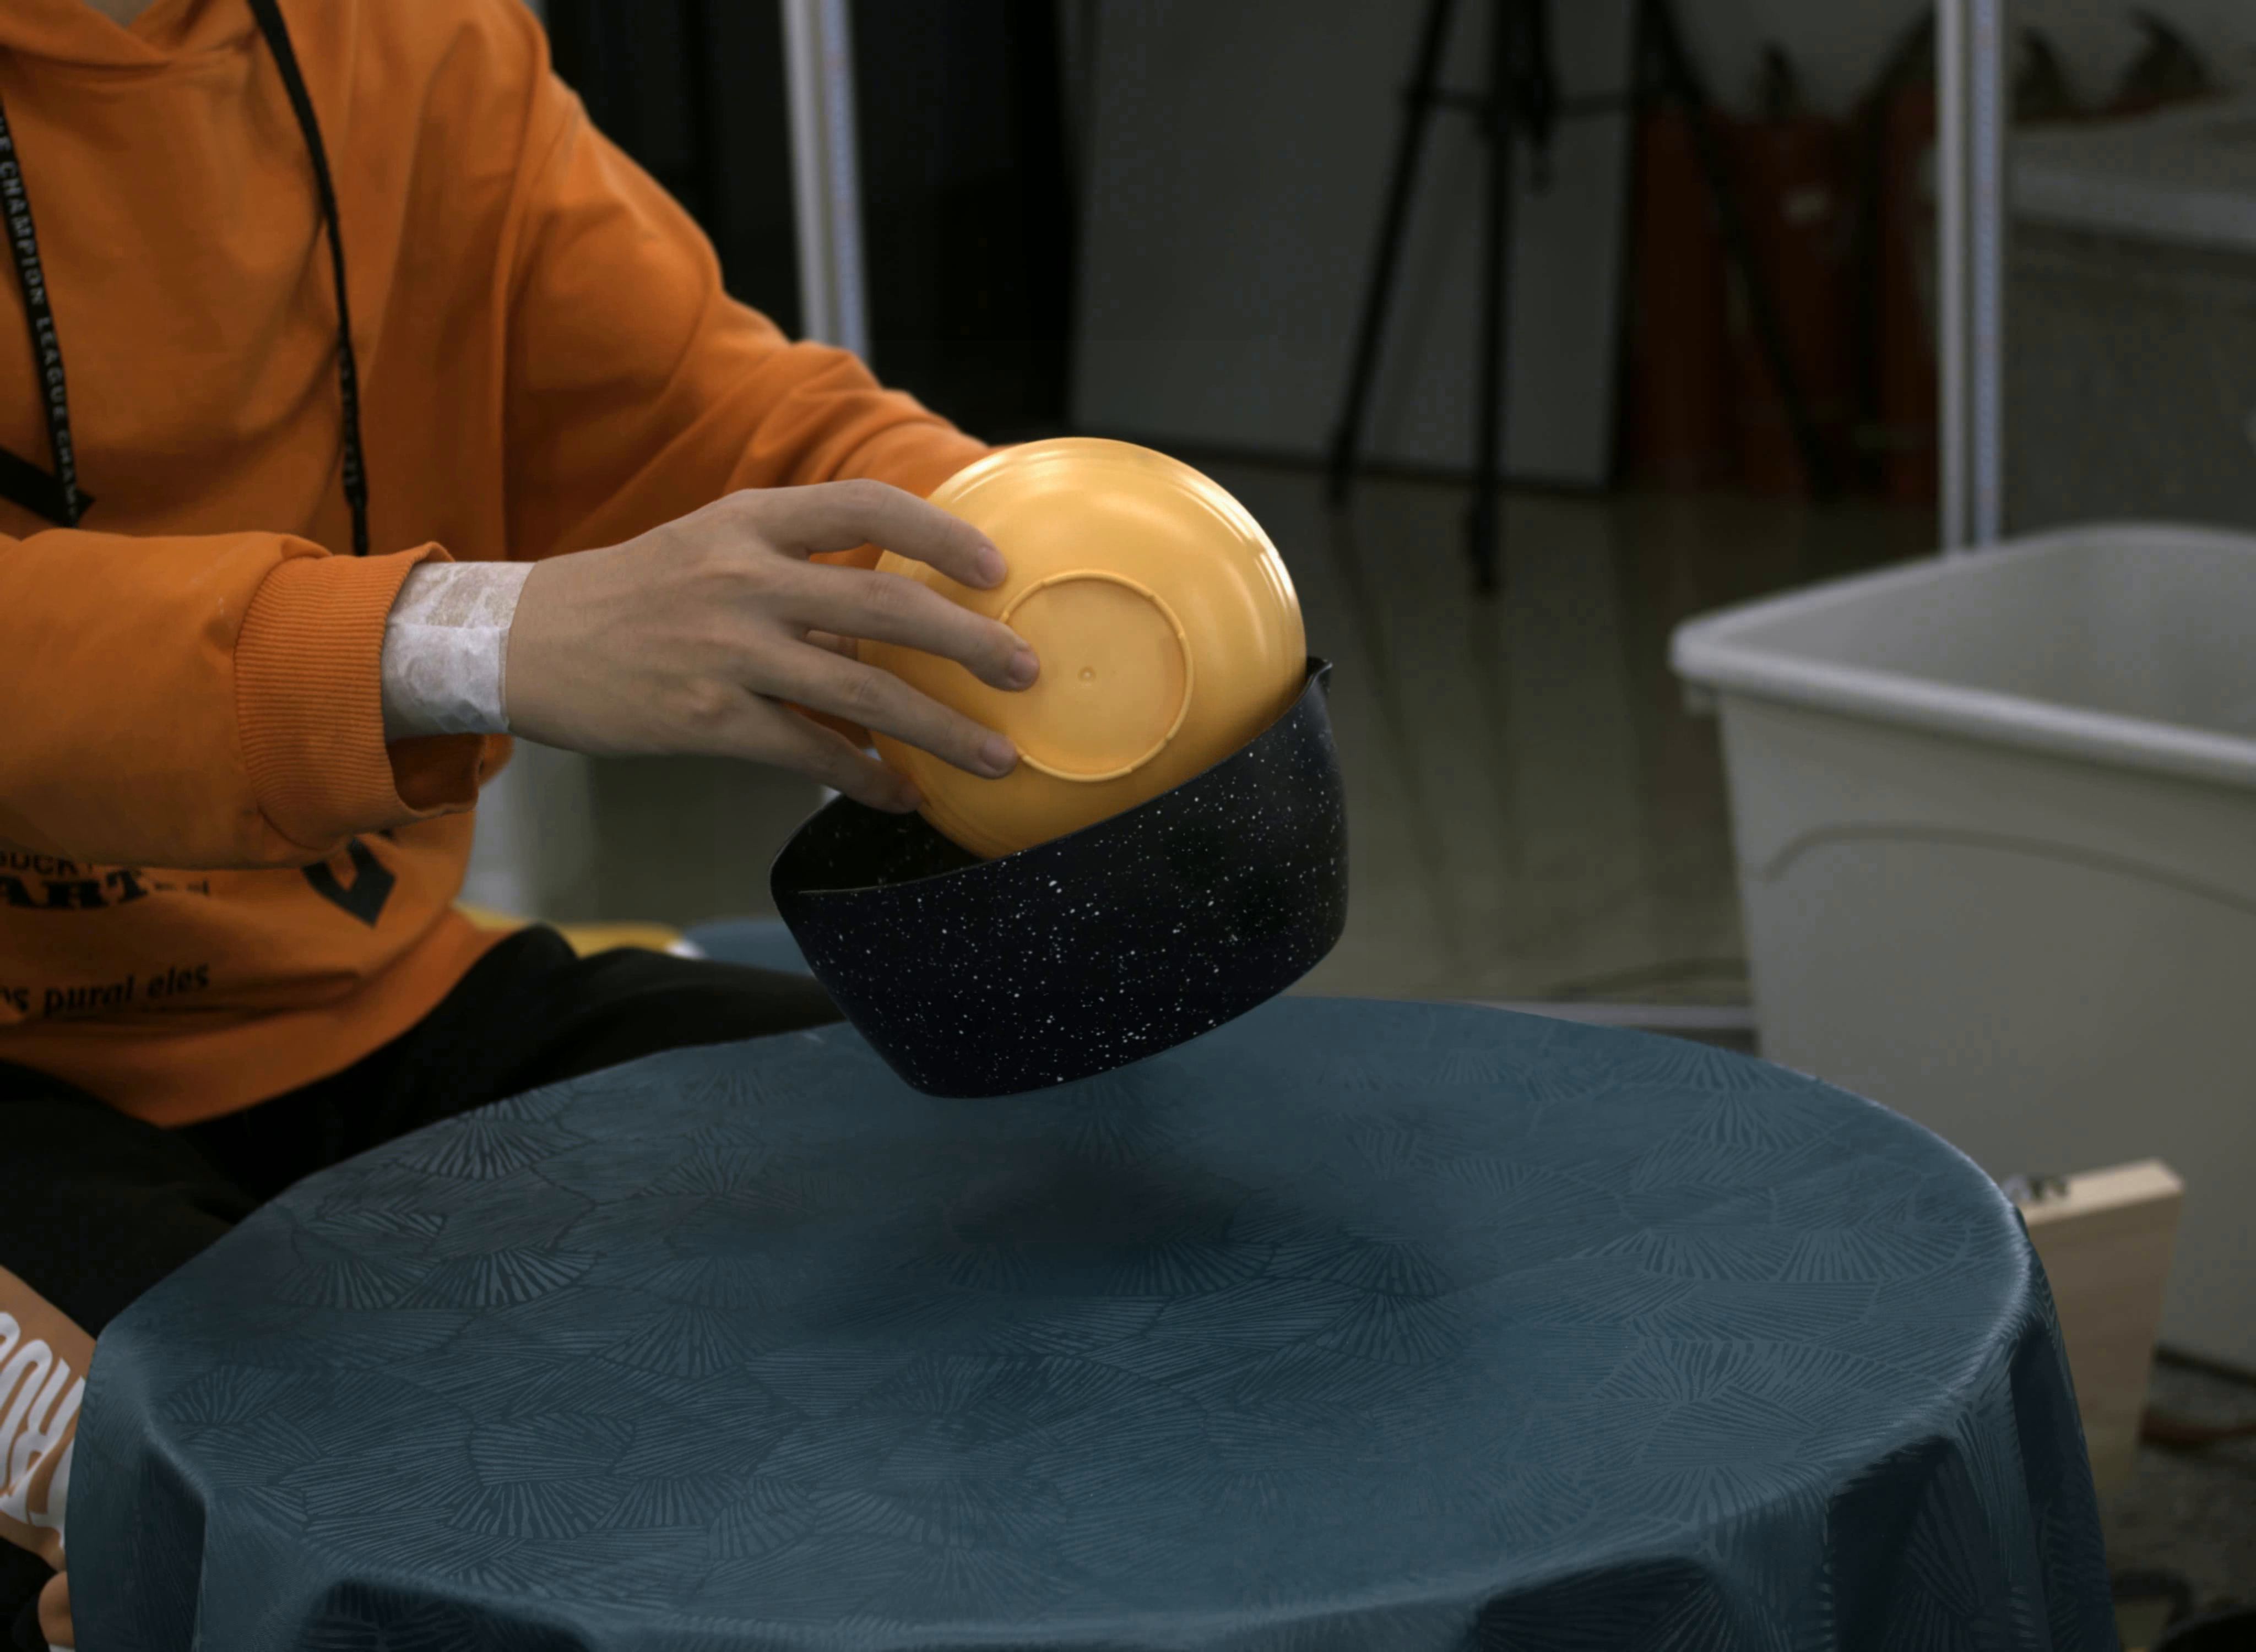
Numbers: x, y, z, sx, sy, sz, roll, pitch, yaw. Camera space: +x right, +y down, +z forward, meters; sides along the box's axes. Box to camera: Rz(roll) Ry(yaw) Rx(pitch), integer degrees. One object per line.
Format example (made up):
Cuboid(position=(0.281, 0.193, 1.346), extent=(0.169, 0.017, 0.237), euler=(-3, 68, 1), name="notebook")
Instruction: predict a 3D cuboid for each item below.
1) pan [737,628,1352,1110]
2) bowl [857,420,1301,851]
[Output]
Cuboid(position=(-0.033, -0.008, 1.796), extent=(0.205, 0.109, 0.345), euler=(-24, 15, -5), name="pan")
Cuboid(position=(-0.015, -0.051, 1.698), extent=(0.143, 0.147, 0.060), euler=(-3, 10, 1), name="bowl")
